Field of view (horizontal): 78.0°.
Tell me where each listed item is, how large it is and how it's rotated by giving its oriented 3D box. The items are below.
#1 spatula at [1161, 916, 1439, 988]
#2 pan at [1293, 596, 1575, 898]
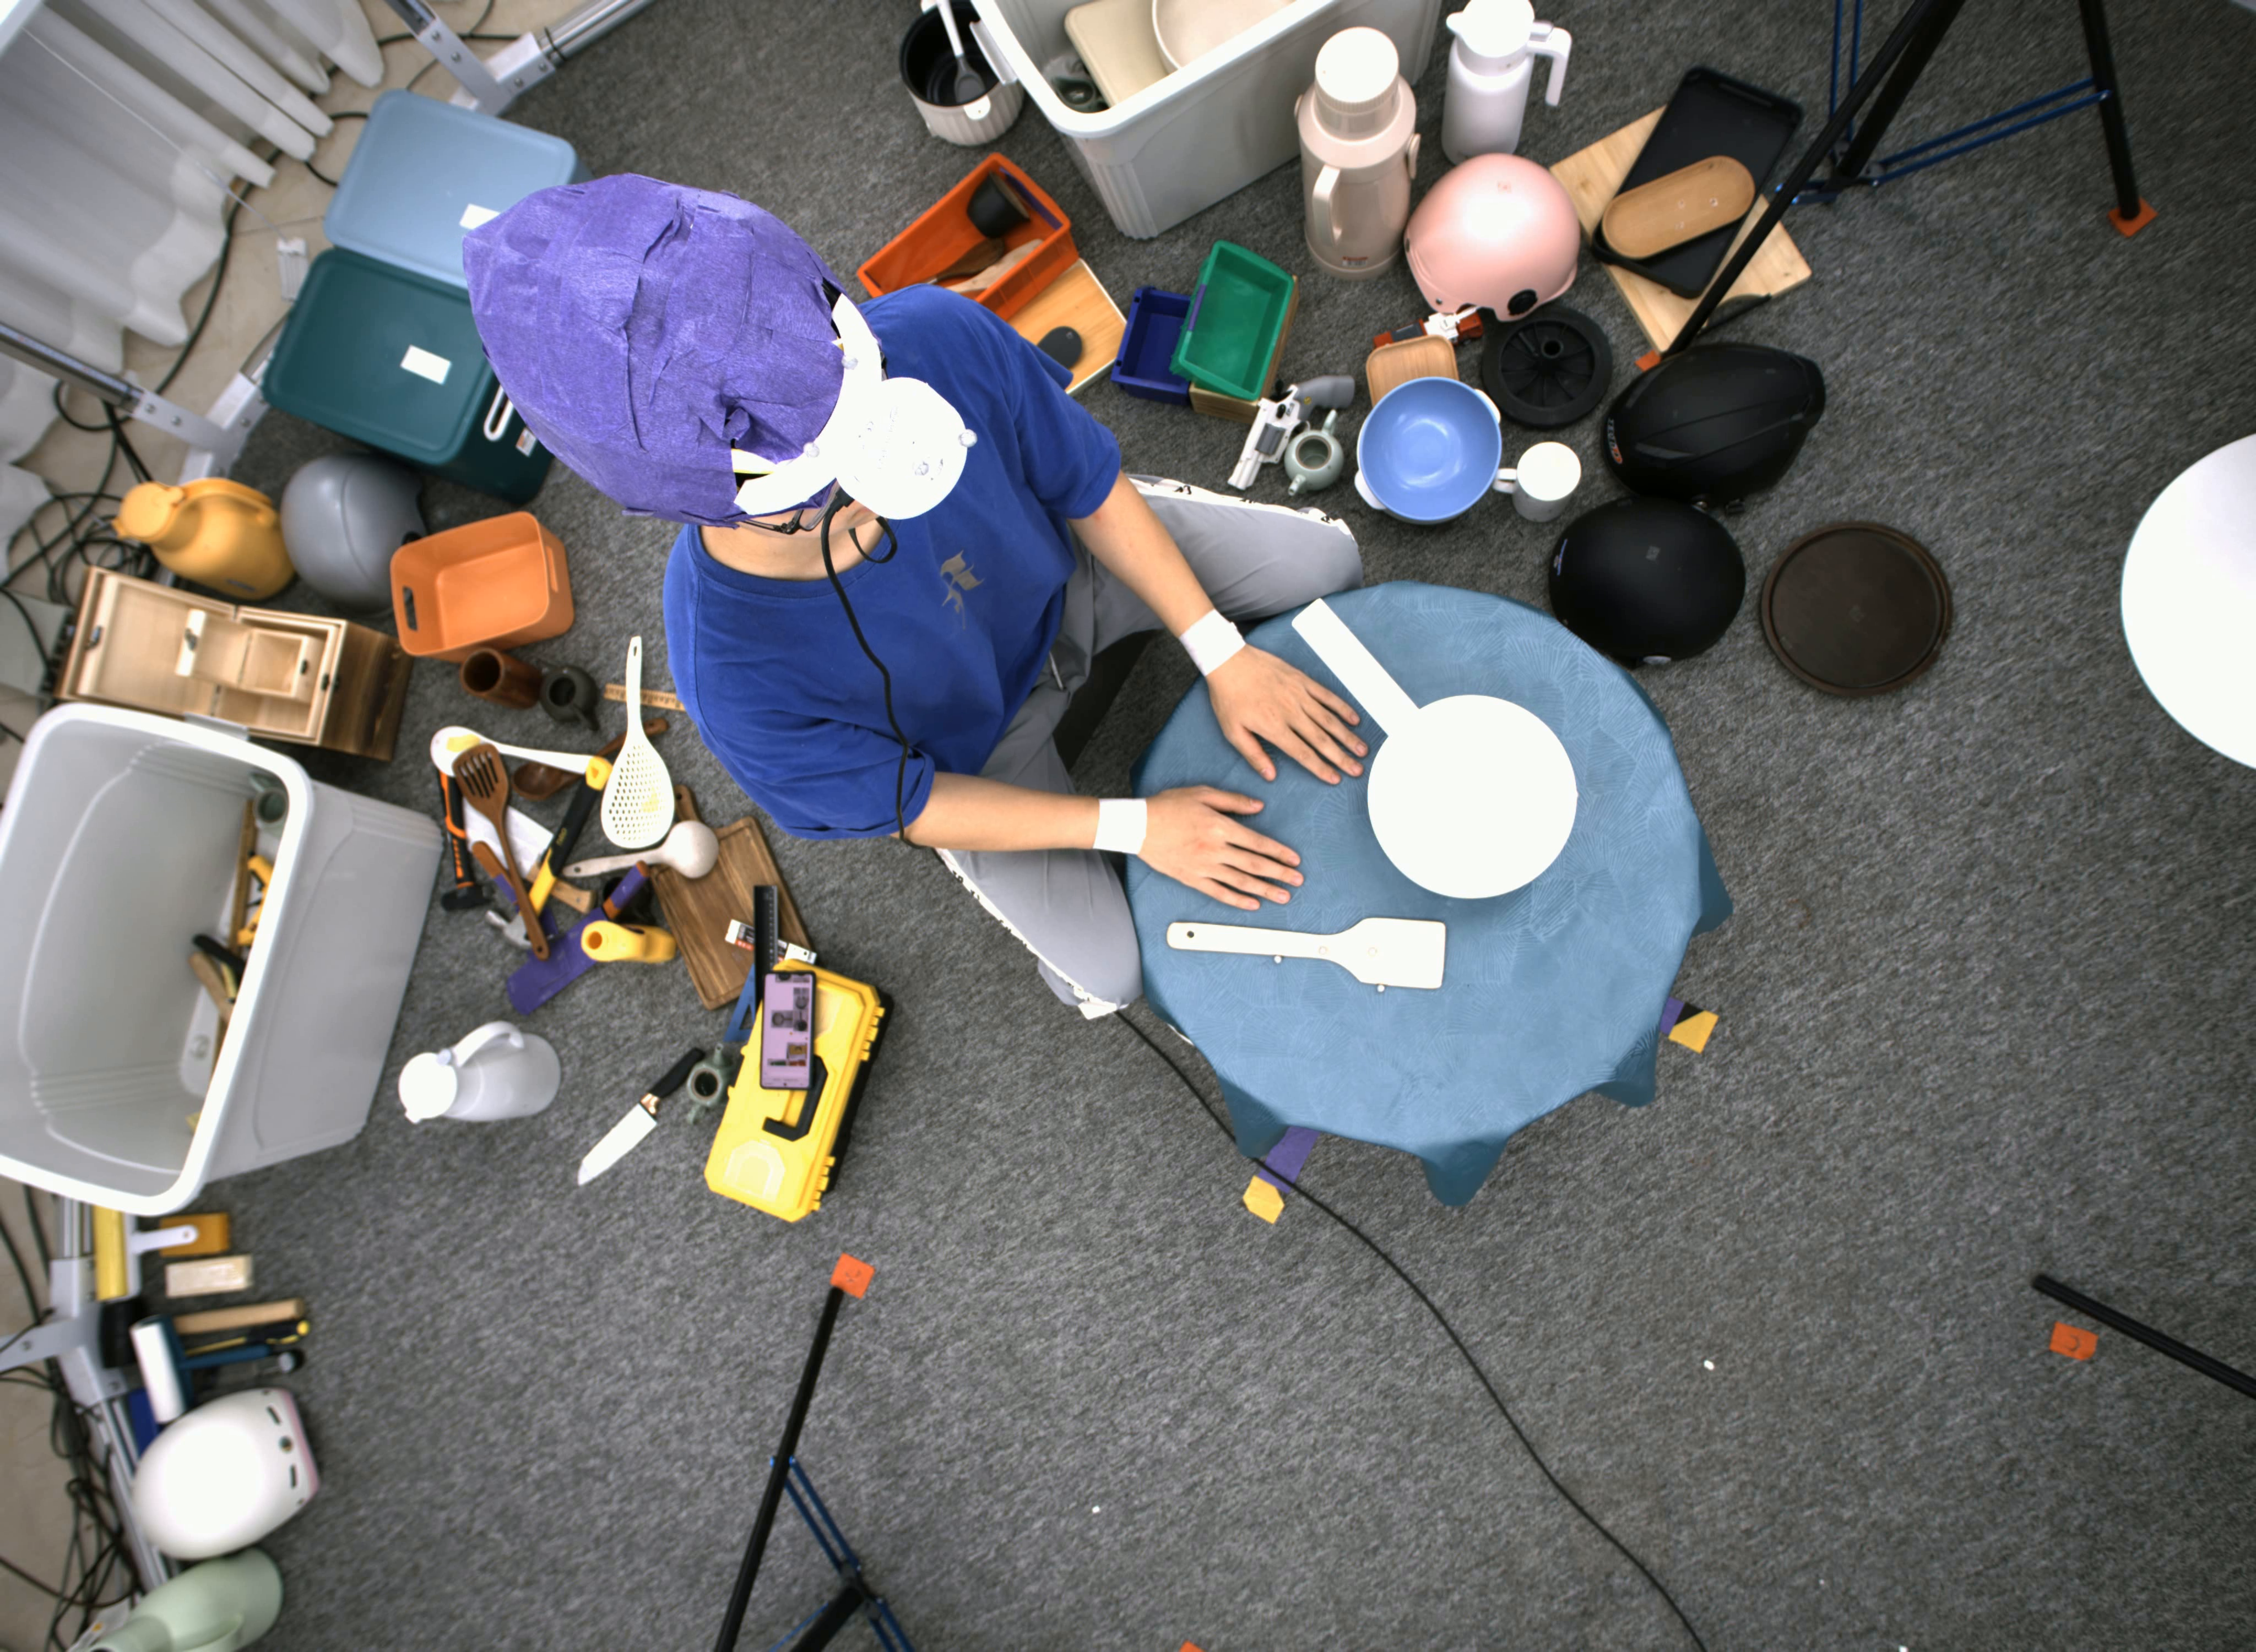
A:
[{"bbox_3d":[0.179,0.124,1.466,0.294,0.010,0.072,4,90,11],"label":"spatula"},{"bbox_3d":[0.298,-0.086,1.412,0.202,0.102,0.353,-41,81,8],"label":"pan"}]
